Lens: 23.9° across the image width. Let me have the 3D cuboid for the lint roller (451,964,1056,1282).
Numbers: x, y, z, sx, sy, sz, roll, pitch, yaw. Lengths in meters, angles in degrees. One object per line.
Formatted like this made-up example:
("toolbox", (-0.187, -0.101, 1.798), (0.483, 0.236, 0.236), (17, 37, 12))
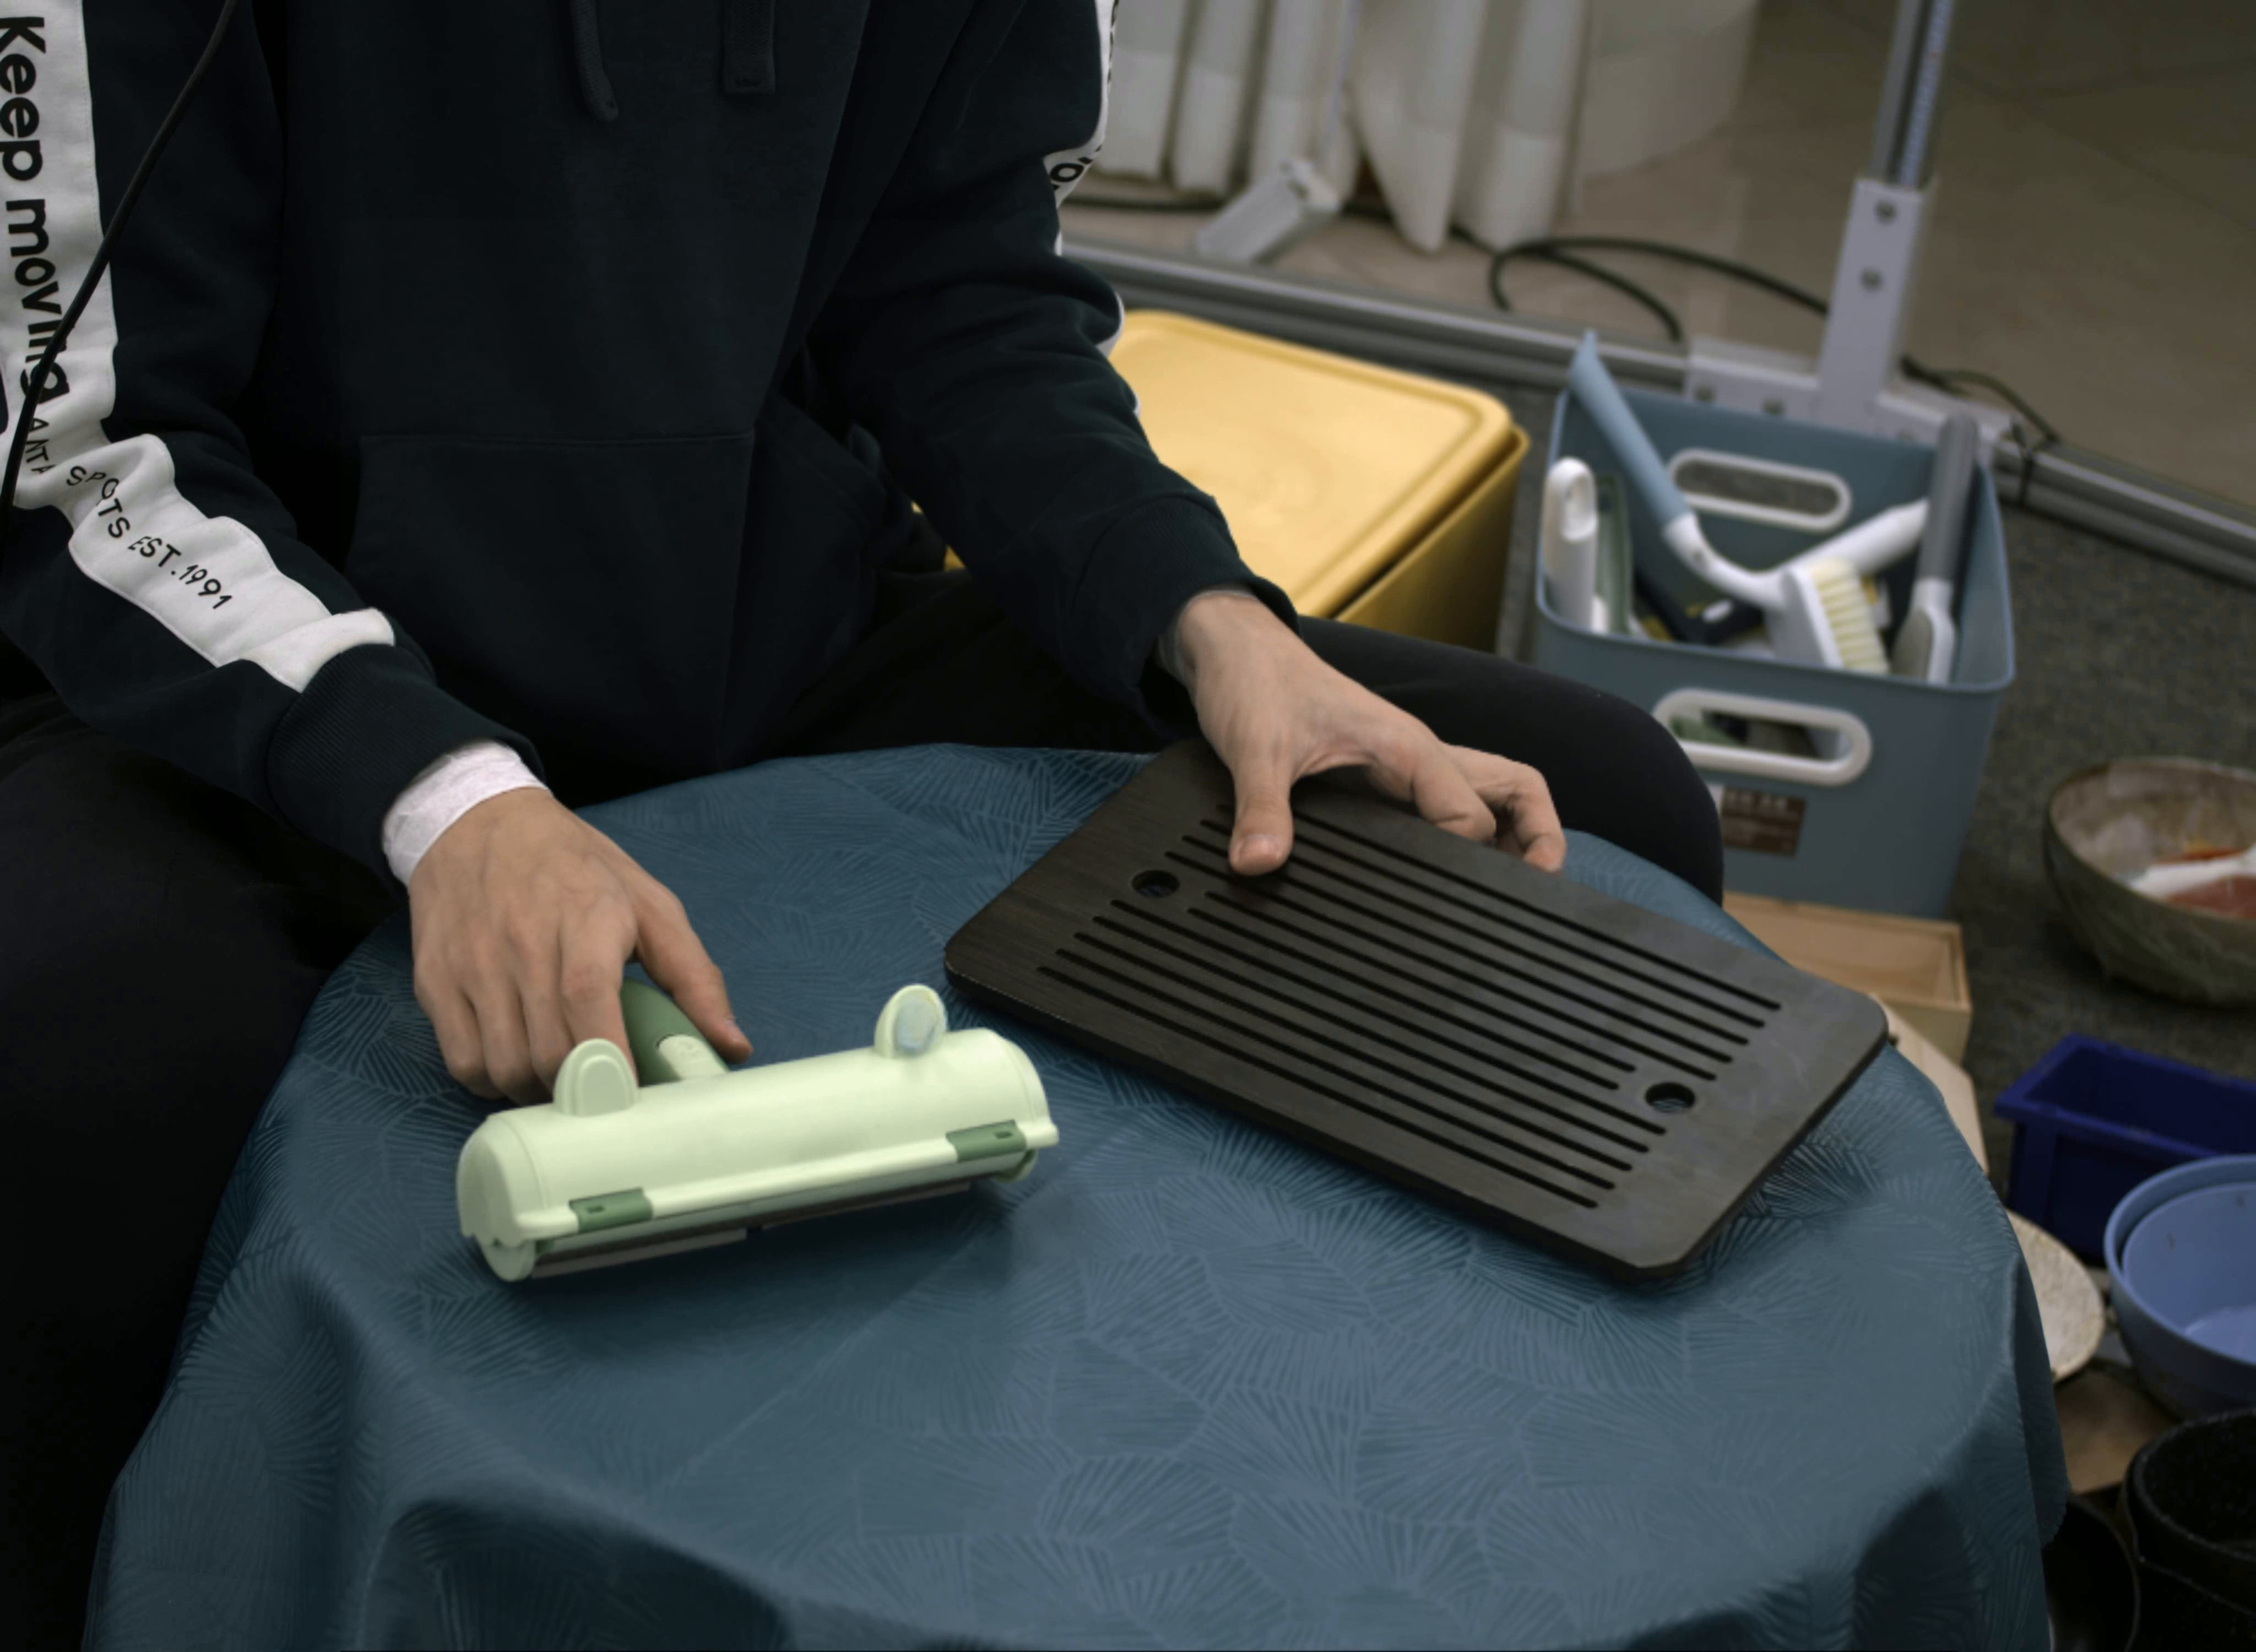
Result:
("lint roller", (-0.147, 0.073, 1.777), (0.197, 0.082, 0.185), (-9, 34, -27))

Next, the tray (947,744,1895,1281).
("tray", (0.102, 0.063, 1.888), (0.307, 0.018, 0.170), (22, 42, 28))
